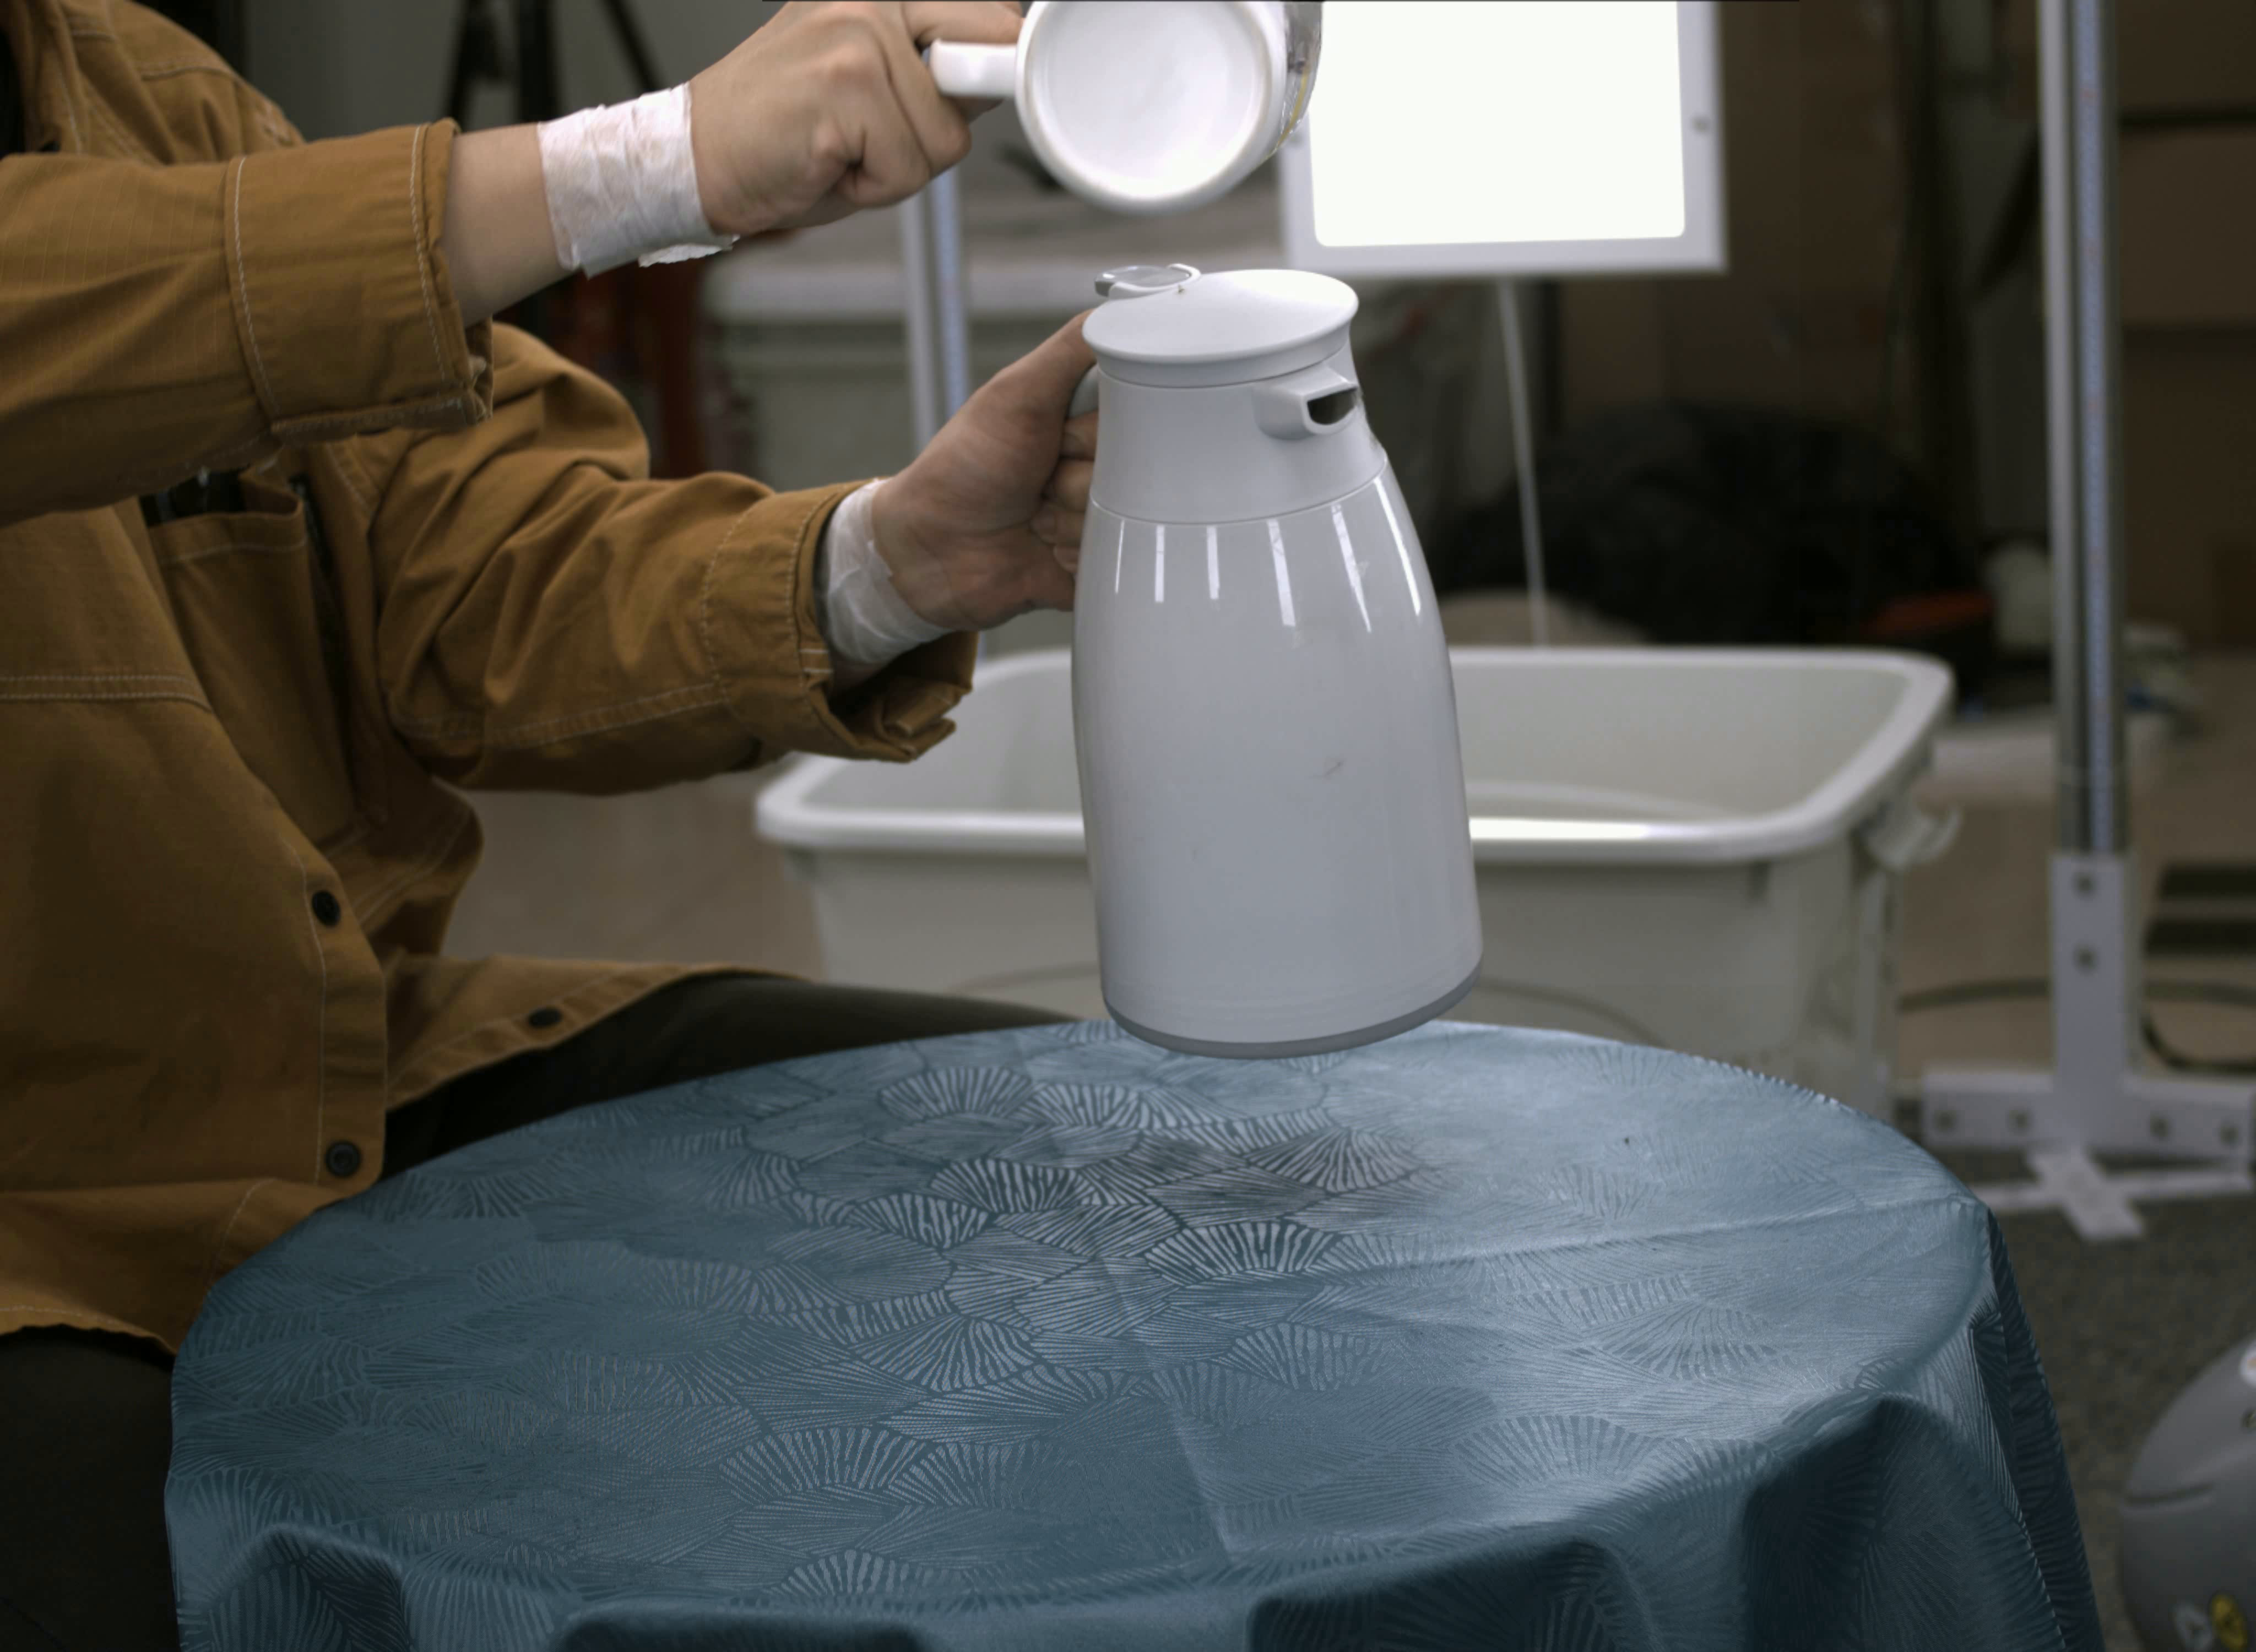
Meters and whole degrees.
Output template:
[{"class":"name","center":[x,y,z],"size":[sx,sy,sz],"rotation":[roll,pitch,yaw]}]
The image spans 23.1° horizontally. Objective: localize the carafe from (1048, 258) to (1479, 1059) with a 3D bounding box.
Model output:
[{"class":"carafe","center":[0.030,-0.066,1.853],"size":[0.130,0.249,0.171],"rotation":[-20,25,-27]}]

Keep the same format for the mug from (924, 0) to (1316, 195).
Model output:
[{"class":"mug","center":[-0.004,-0.240,1.699],"size":[0.119,0.085,0.101],"rotation":[2,10,9]}]
